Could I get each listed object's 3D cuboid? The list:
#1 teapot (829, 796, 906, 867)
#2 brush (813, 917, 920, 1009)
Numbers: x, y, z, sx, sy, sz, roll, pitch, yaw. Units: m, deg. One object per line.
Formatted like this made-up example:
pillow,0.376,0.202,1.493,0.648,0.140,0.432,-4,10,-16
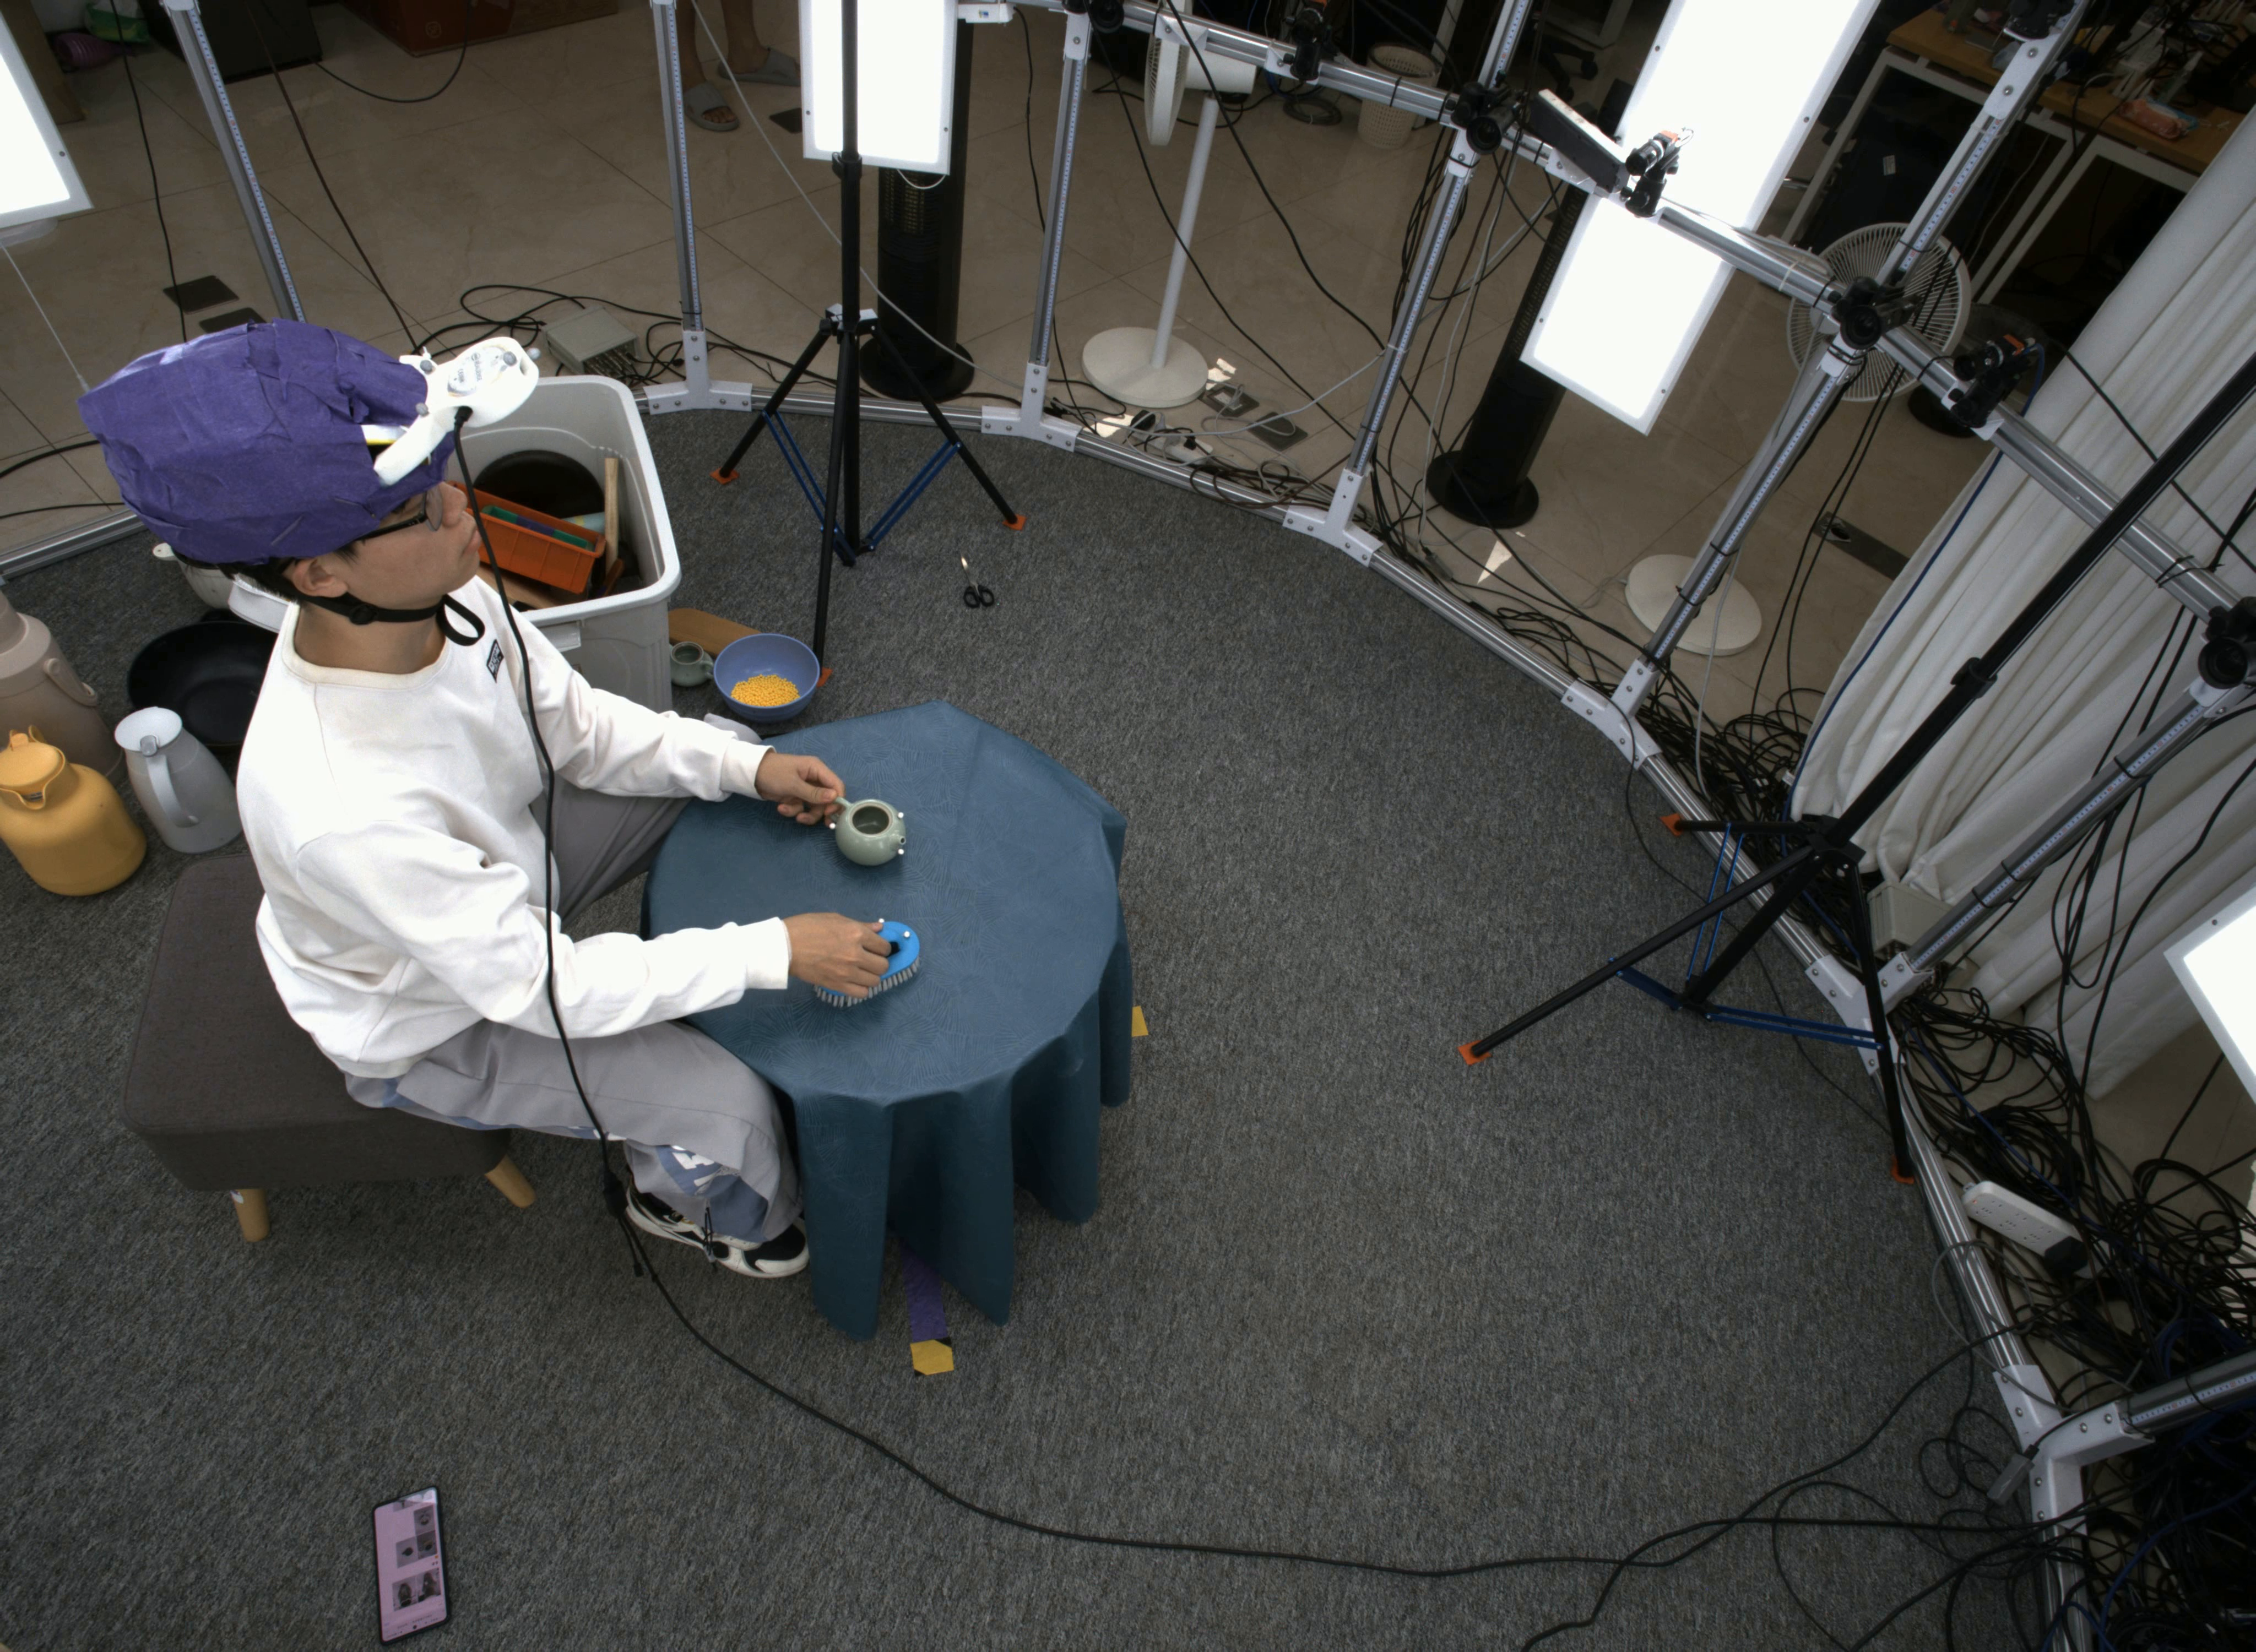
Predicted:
teapot,-0.346,0.003,1.712,0.126,0.062,0.091,35,56,13
brush,-0.320,0.161,1.600,0.142,0.065,0.083,-28,69,-26
